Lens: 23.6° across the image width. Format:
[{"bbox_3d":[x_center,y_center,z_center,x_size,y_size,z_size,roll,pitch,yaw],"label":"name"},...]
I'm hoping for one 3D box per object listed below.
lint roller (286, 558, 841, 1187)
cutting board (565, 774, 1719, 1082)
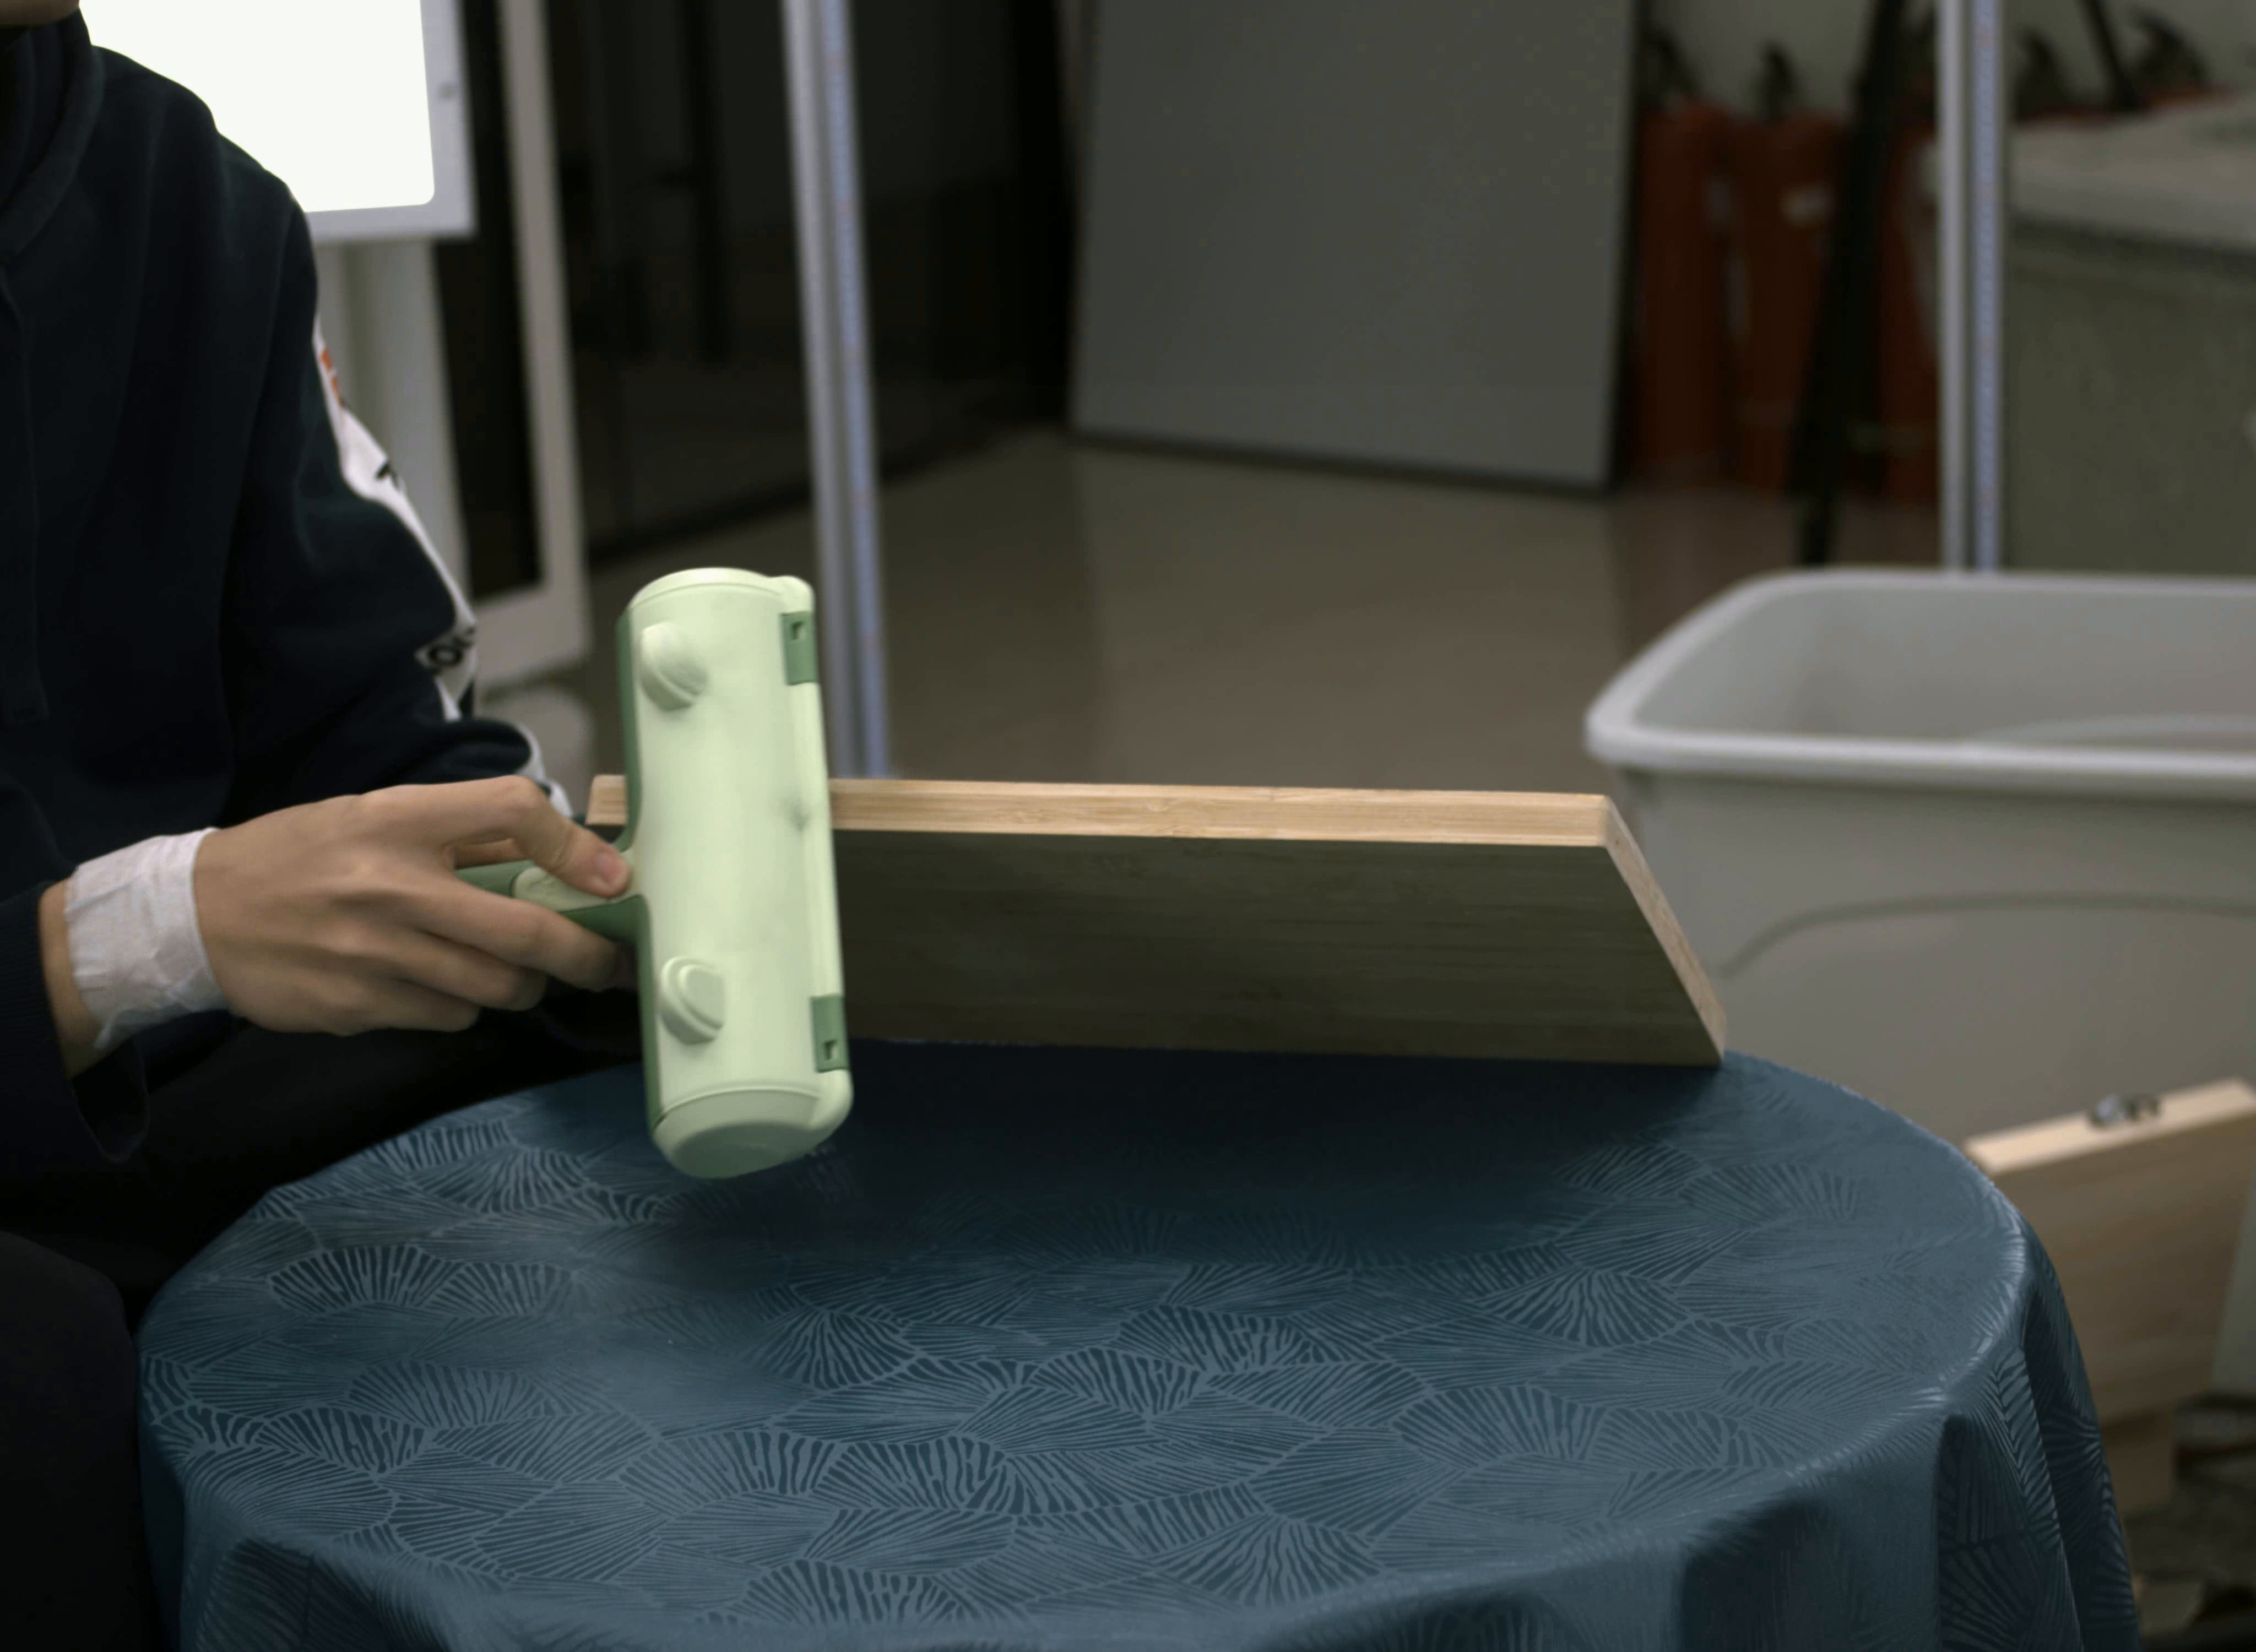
[{"bbox_3d":[-0.184,0.018,1.696,0.181,0.201,0.082,-9,-26,6],"label":"lint roller"},{"bbox_3d":[0.011,0.035,1.810,0.347,0.024,0.249,1,-20,17],"label":"cutting board"}]
